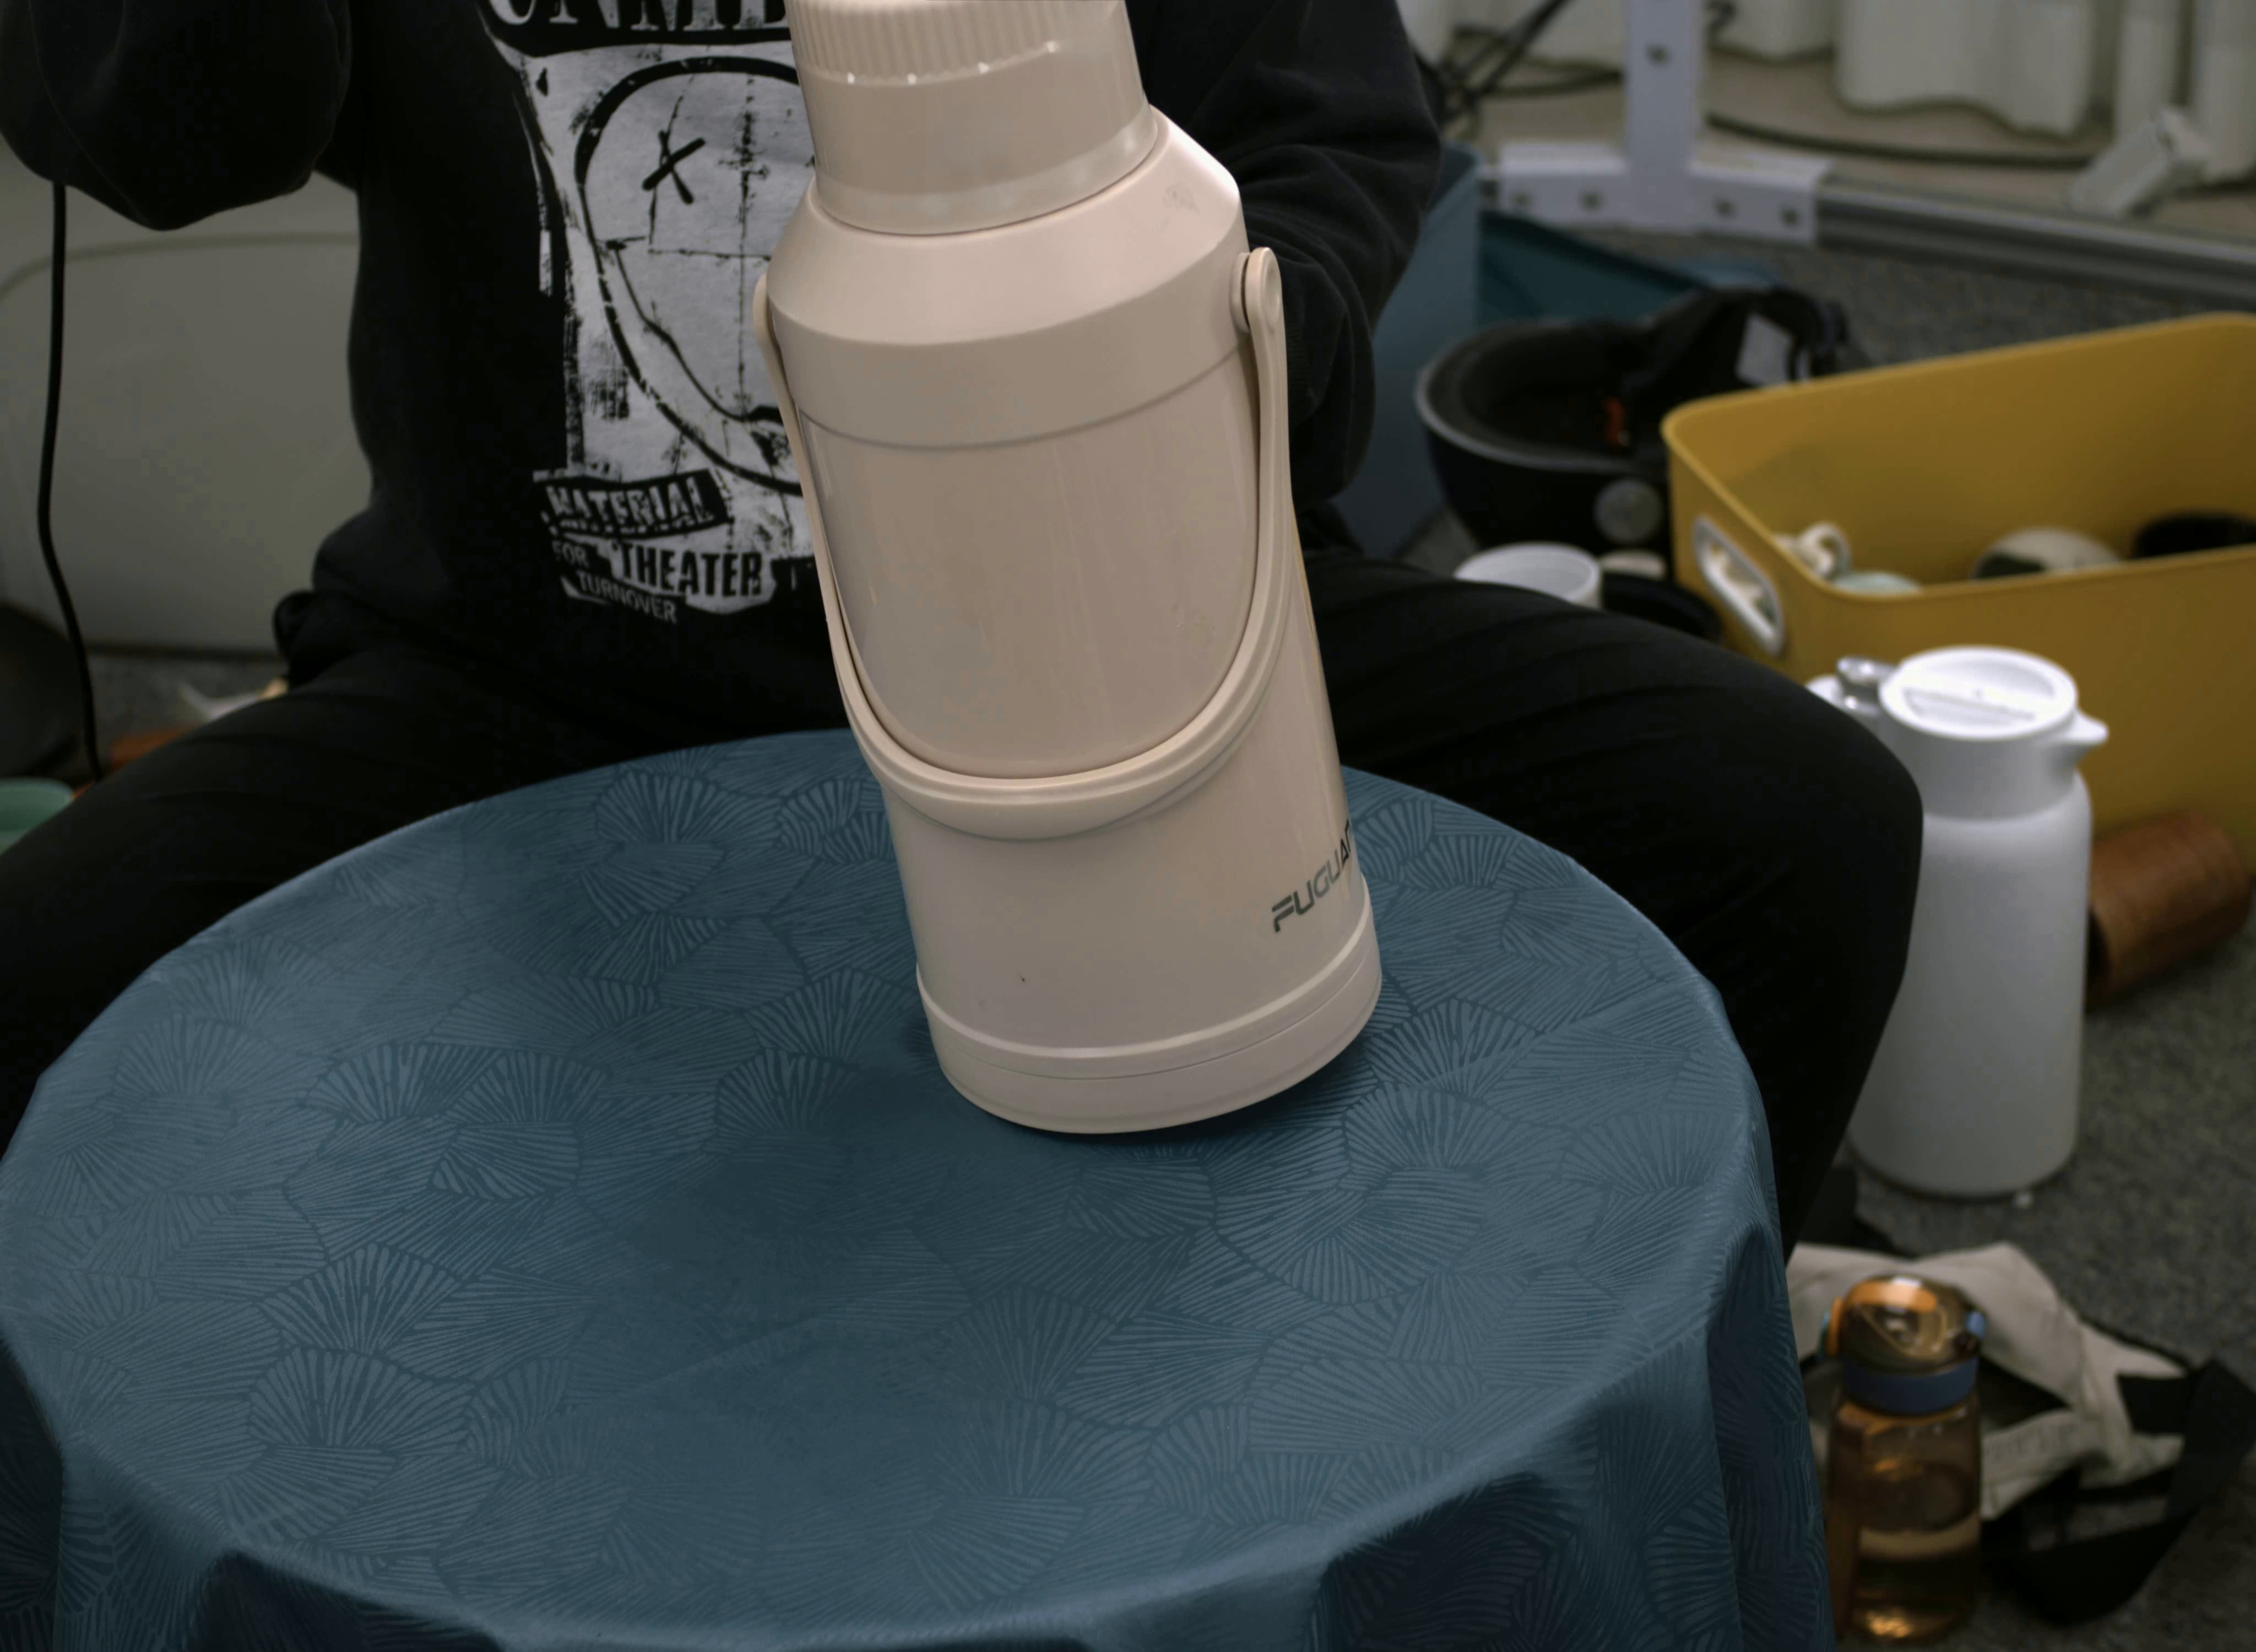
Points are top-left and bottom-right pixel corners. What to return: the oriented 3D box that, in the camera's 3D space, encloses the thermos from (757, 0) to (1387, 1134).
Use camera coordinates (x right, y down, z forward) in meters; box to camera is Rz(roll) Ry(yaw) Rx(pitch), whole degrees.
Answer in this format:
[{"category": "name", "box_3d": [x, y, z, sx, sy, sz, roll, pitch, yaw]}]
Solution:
[{"category": "thermos", "box_3d": [-0.017, -0.114, 1.873, 0.174, 0.402, 0.211, -3, 28, 18]}]
